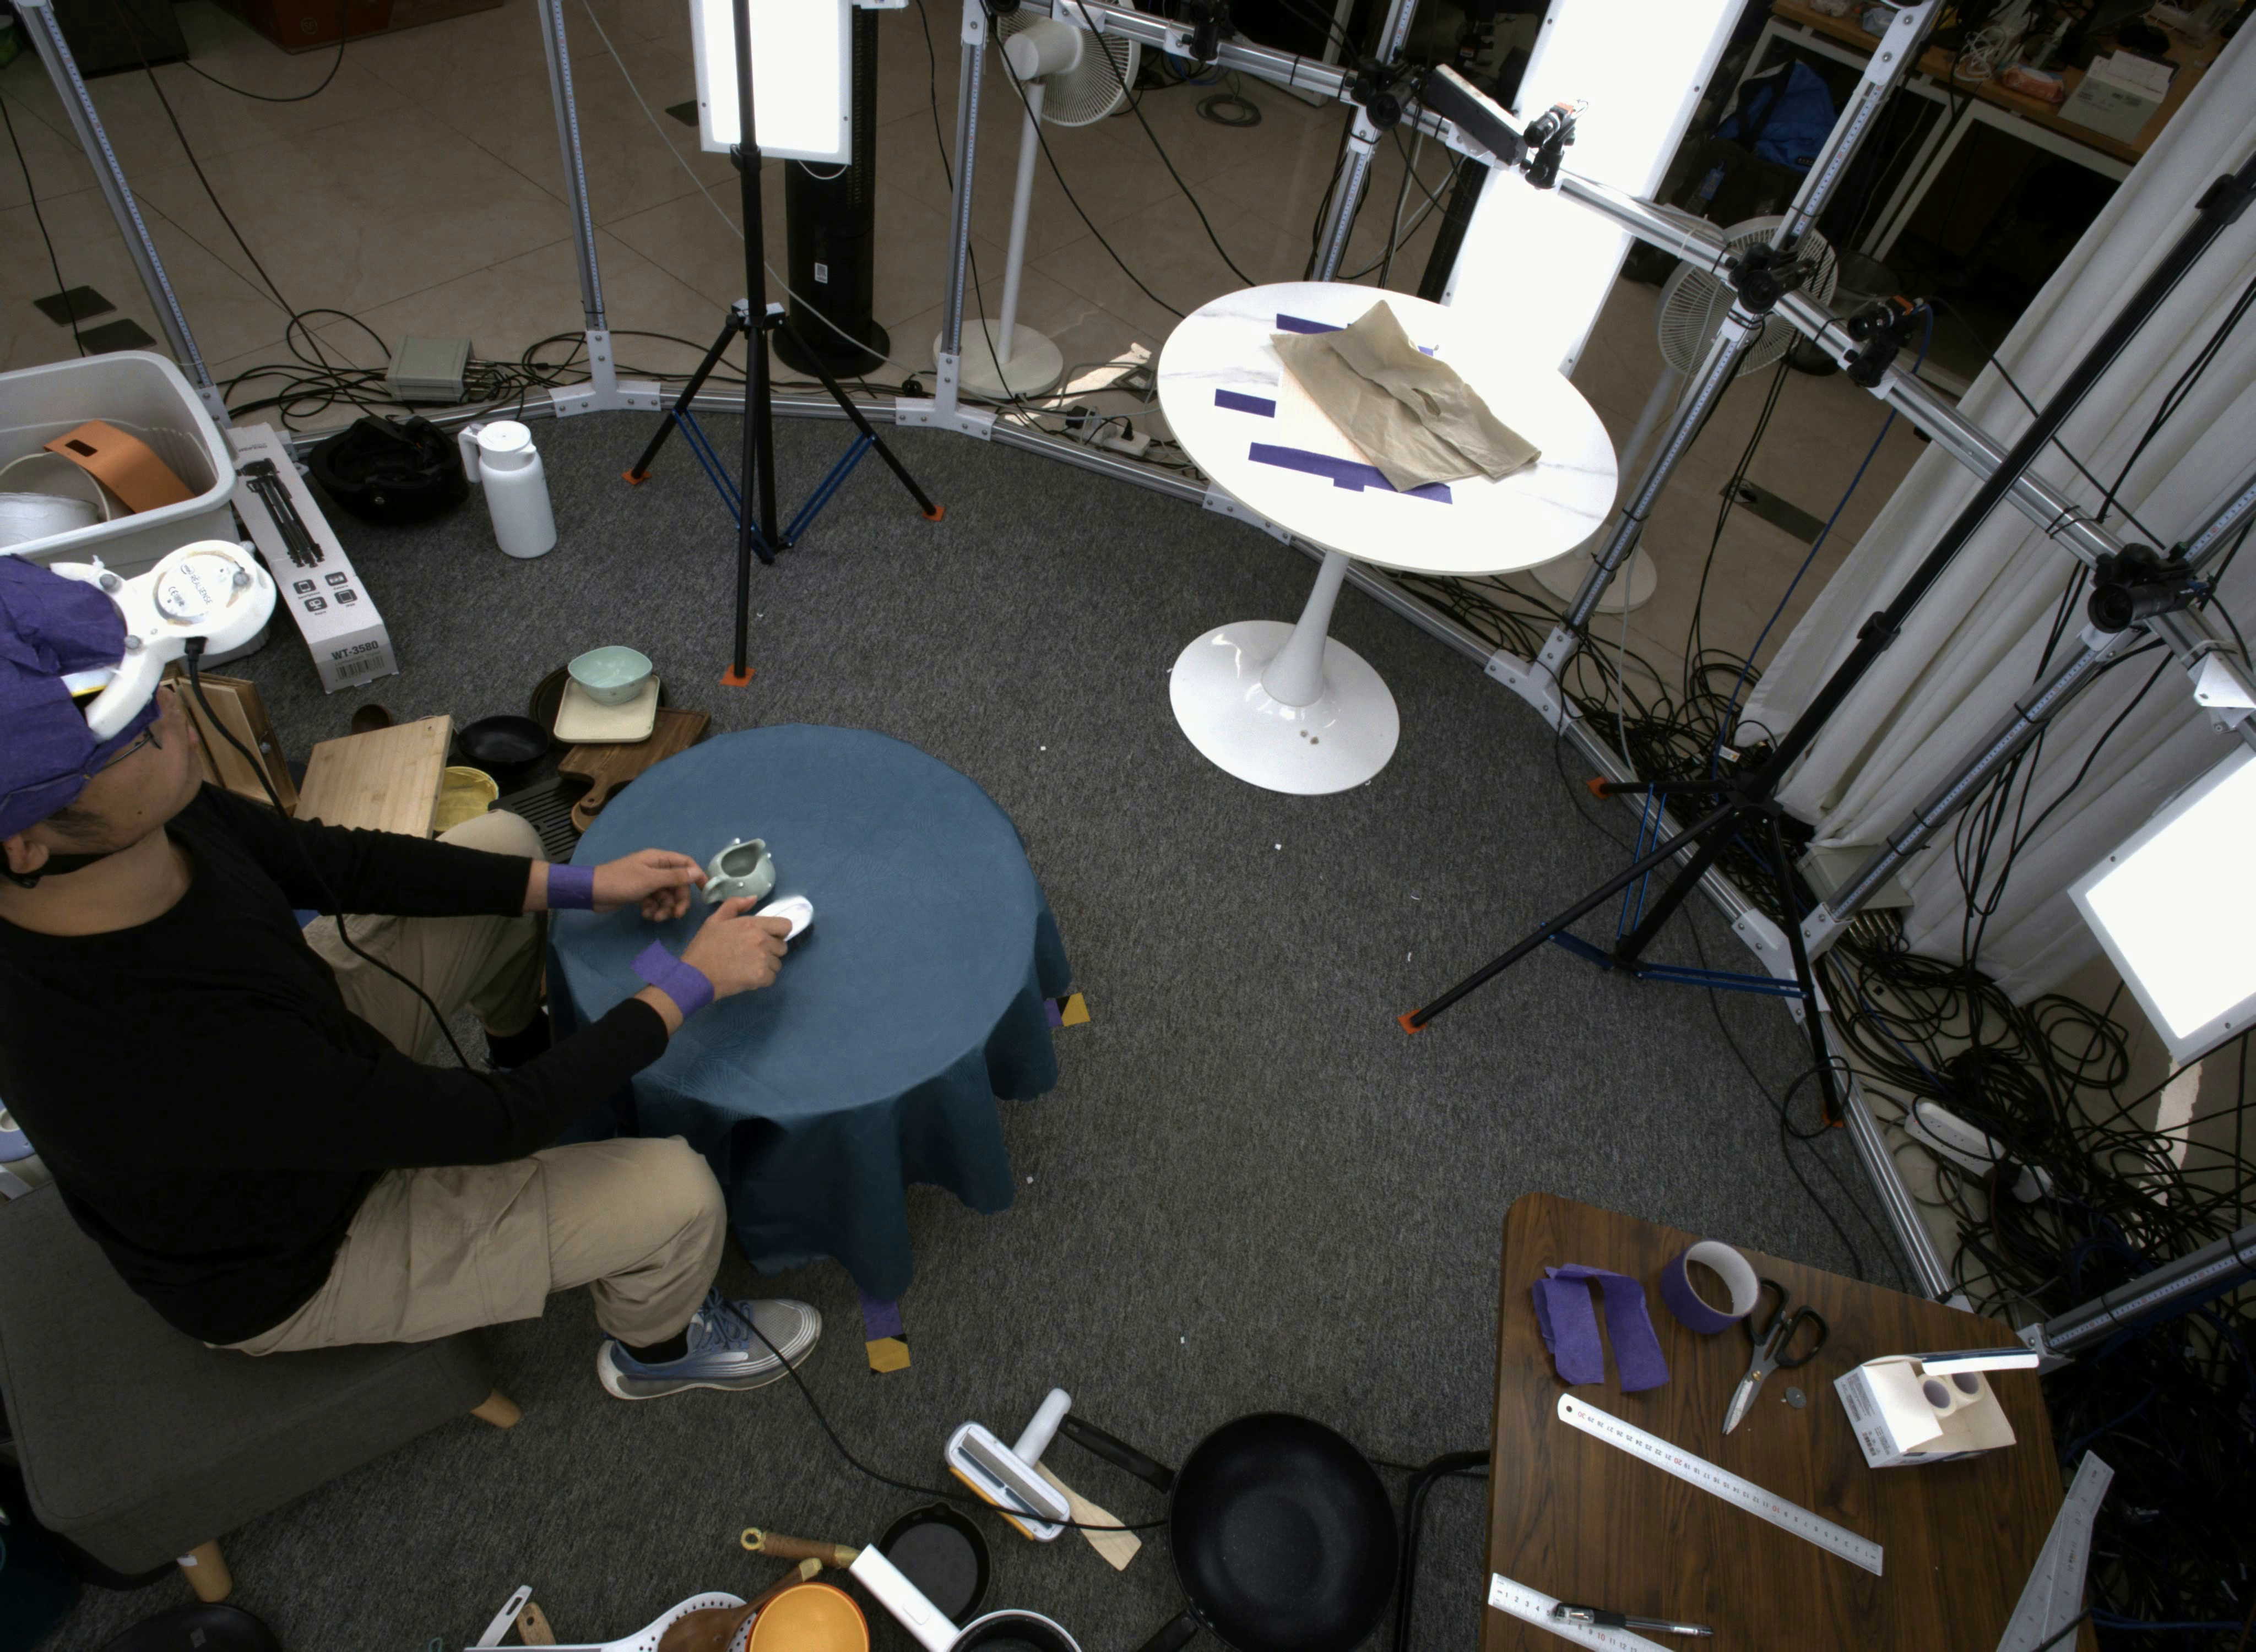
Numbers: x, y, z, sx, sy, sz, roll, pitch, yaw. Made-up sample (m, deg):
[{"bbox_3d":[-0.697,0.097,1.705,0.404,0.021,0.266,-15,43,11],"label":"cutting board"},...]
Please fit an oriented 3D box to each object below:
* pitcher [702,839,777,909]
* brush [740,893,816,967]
[{"bbox_3d":[-0.494,0.065,1.627,0.084,0.061,0.107,30,55,11],"label":"pitcher"},{"bbox_3d":[-0.431,0.118,1.590,0.099,0.074,0.049,-33,63,-33],"label":"brush"}]
